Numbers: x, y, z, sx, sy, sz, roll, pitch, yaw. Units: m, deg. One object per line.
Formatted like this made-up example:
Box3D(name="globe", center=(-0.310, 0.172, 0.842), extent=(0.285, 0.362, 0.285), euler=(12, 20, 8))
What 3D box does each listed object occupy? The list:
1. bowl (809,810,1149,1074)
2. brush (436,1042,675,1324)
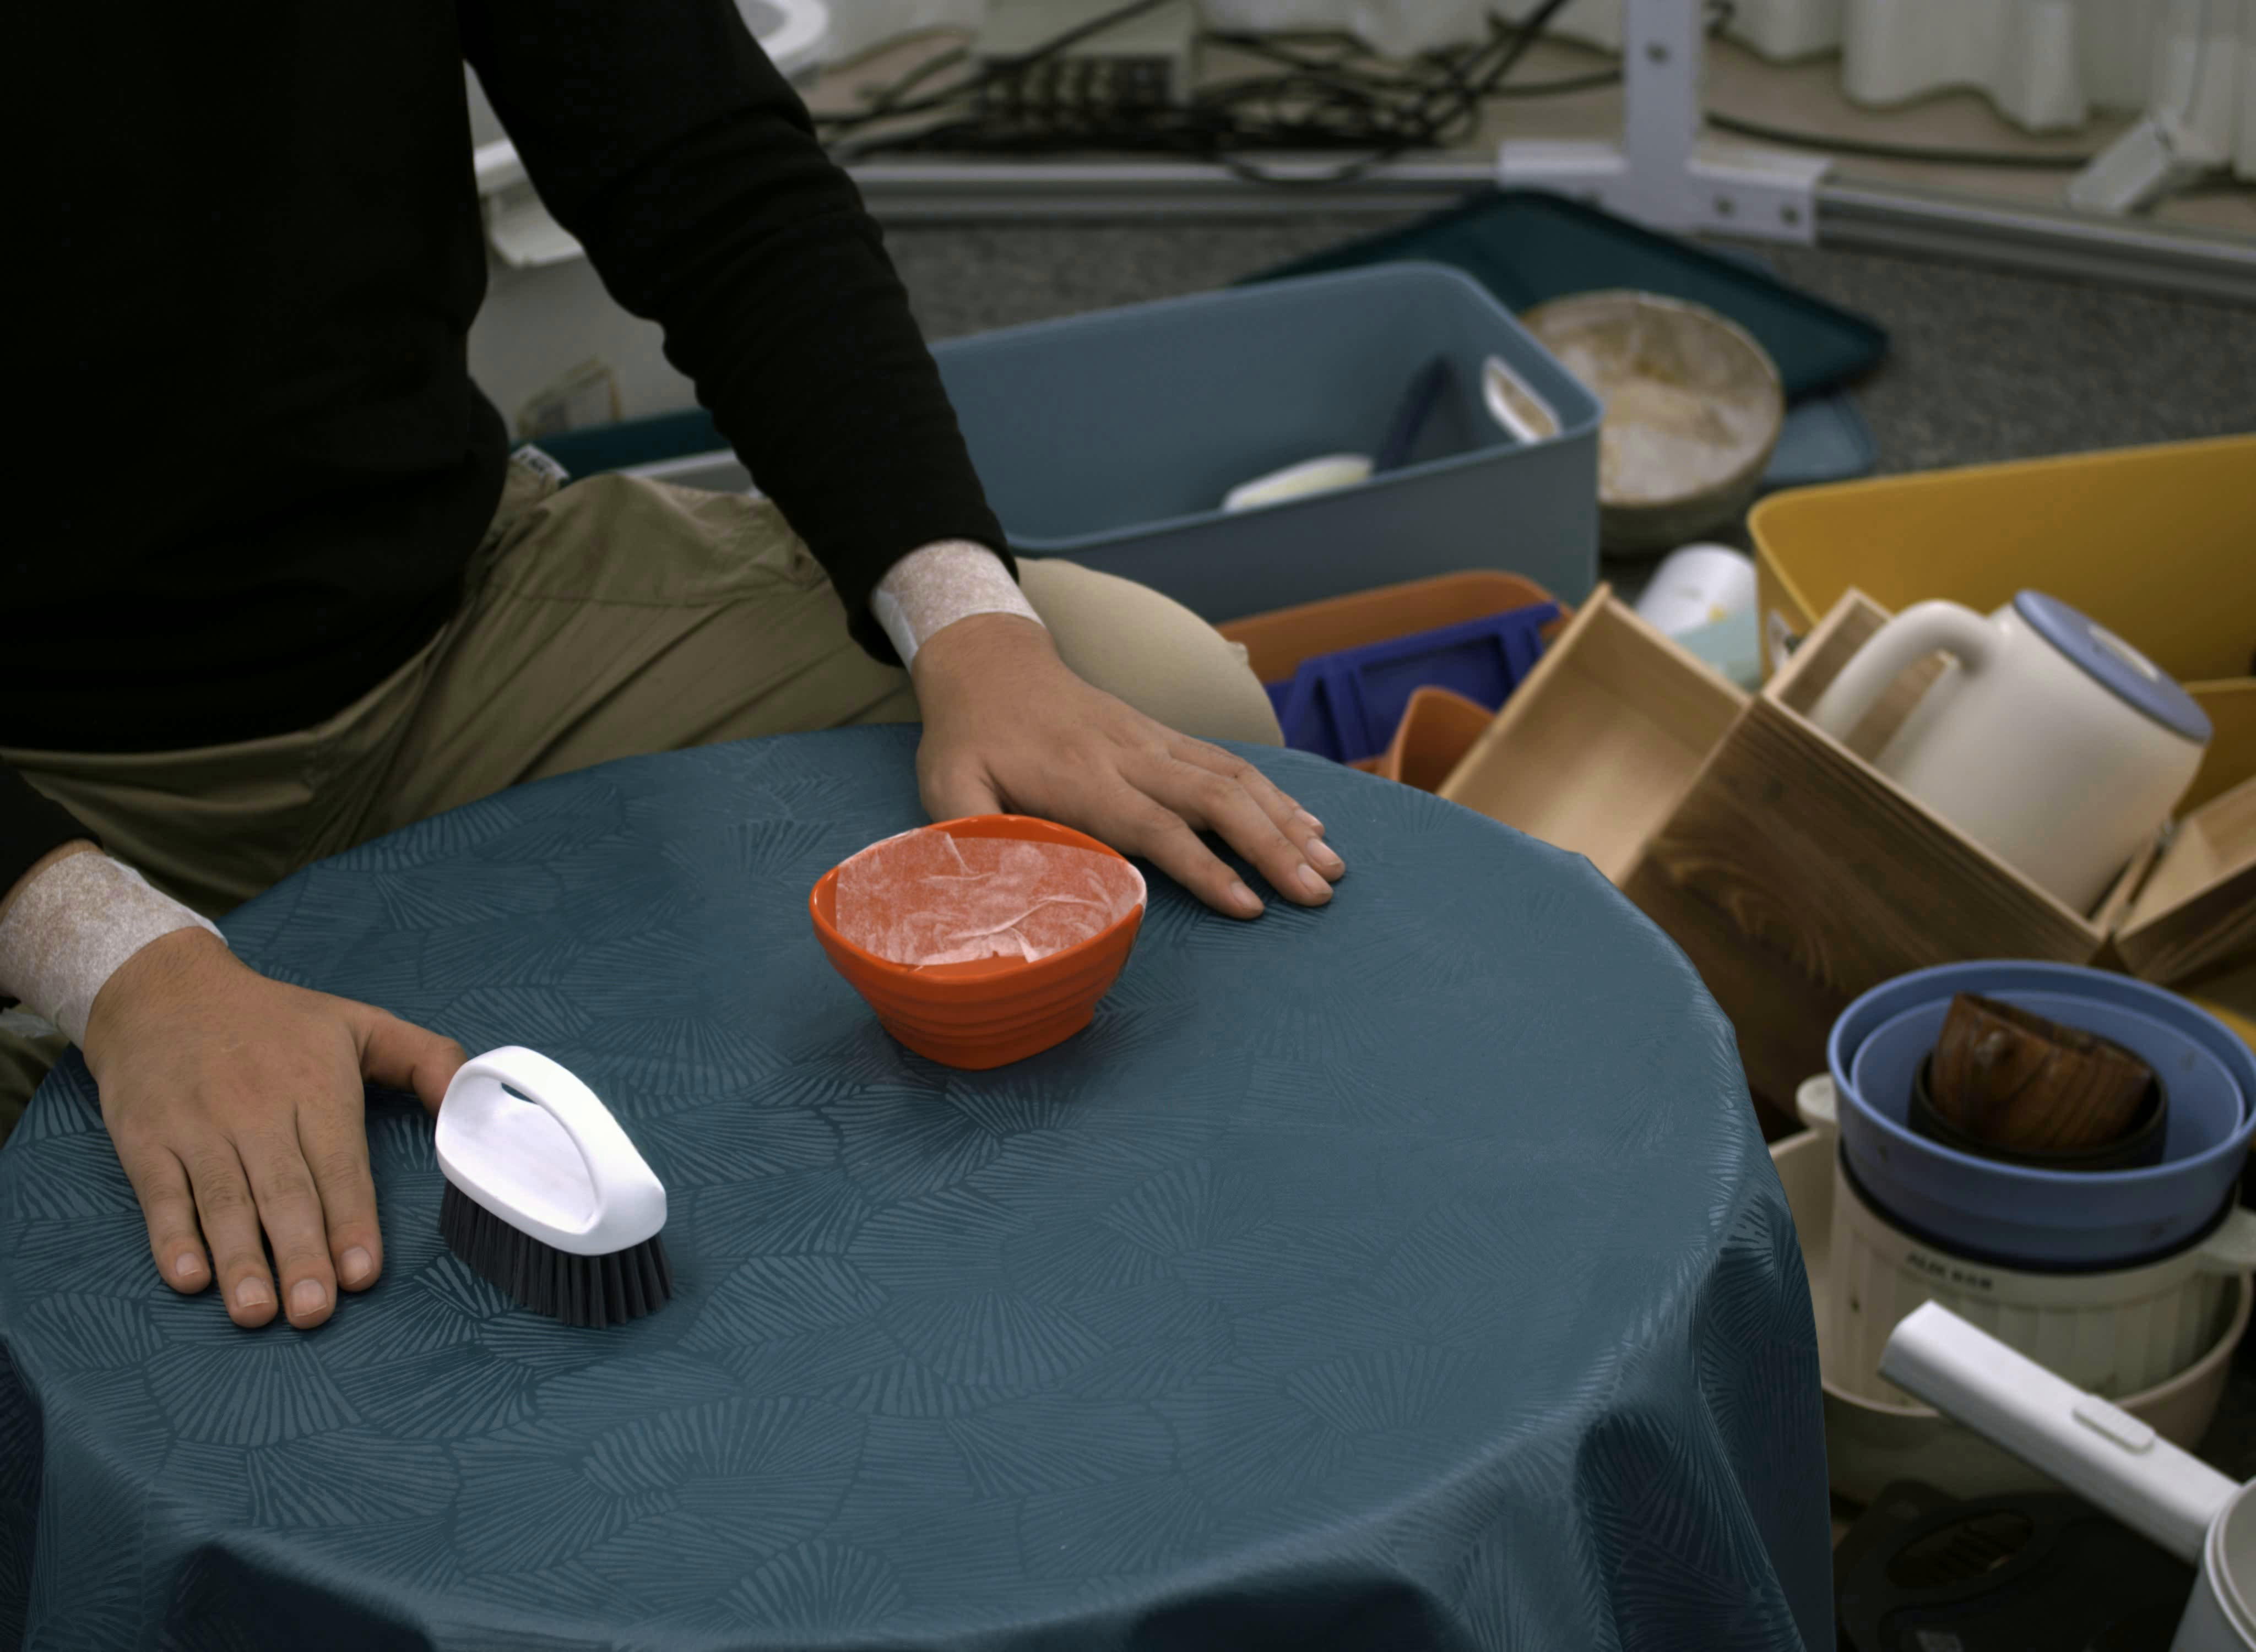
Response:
Box3D(name="bowl", center=(-0.051, 0.045, 1.958), extent=(0.118, 0.051, 0.121), euler=(-2, 29, 2))
Box3D(name="brush", center=(-0.189, 0.110, 1.823), extent=(0.051, 0.072, 0.099), euler=(-21, 32, -32))
